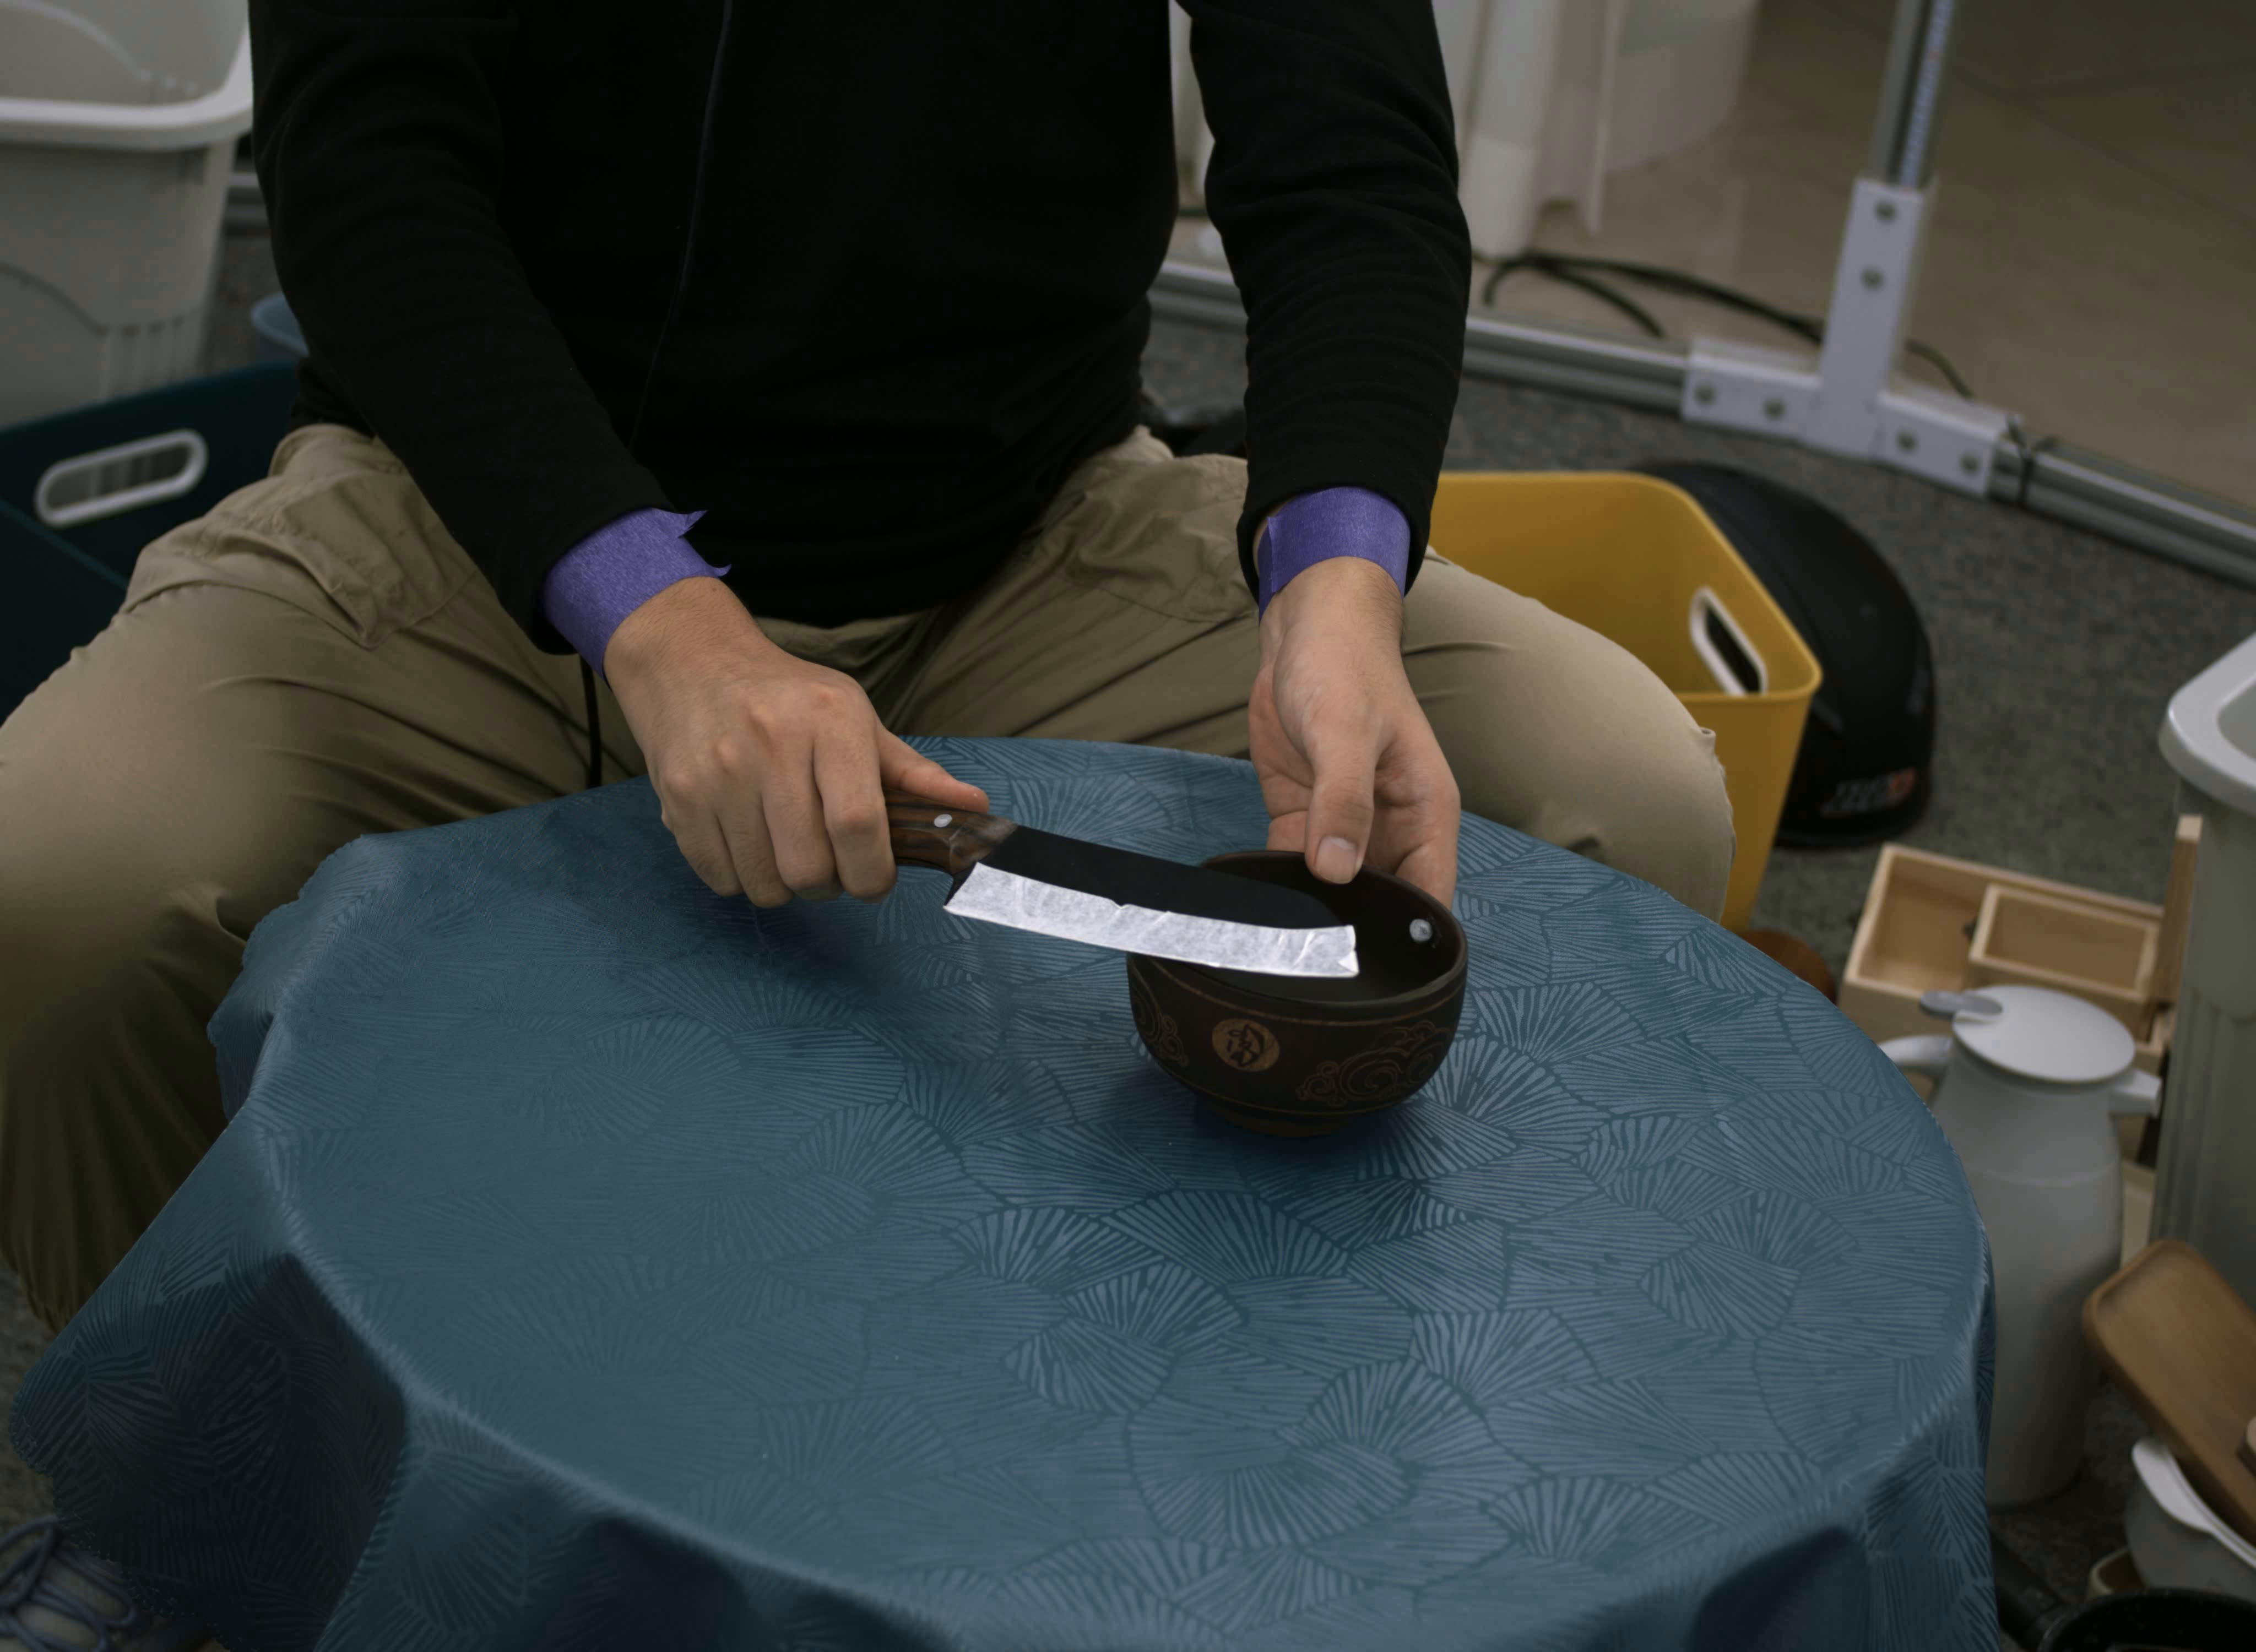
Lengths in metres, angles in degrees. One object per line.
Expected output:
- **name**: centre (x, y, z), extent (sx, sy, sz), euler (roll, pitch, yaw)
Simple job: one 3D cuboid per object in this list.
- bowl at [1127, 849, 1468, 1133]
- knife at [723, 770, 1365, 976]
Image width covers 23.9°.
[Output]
- **bowl**: centre (0.057, 0.064, 1.856), extent (0.117, 0.069, 0.119), euler (5, 25, -3)
- **knife**: centre (-0.033, 0.017, 1.860), extent (0.291, 0.020, 0.050), euler (14, 53, 37)
